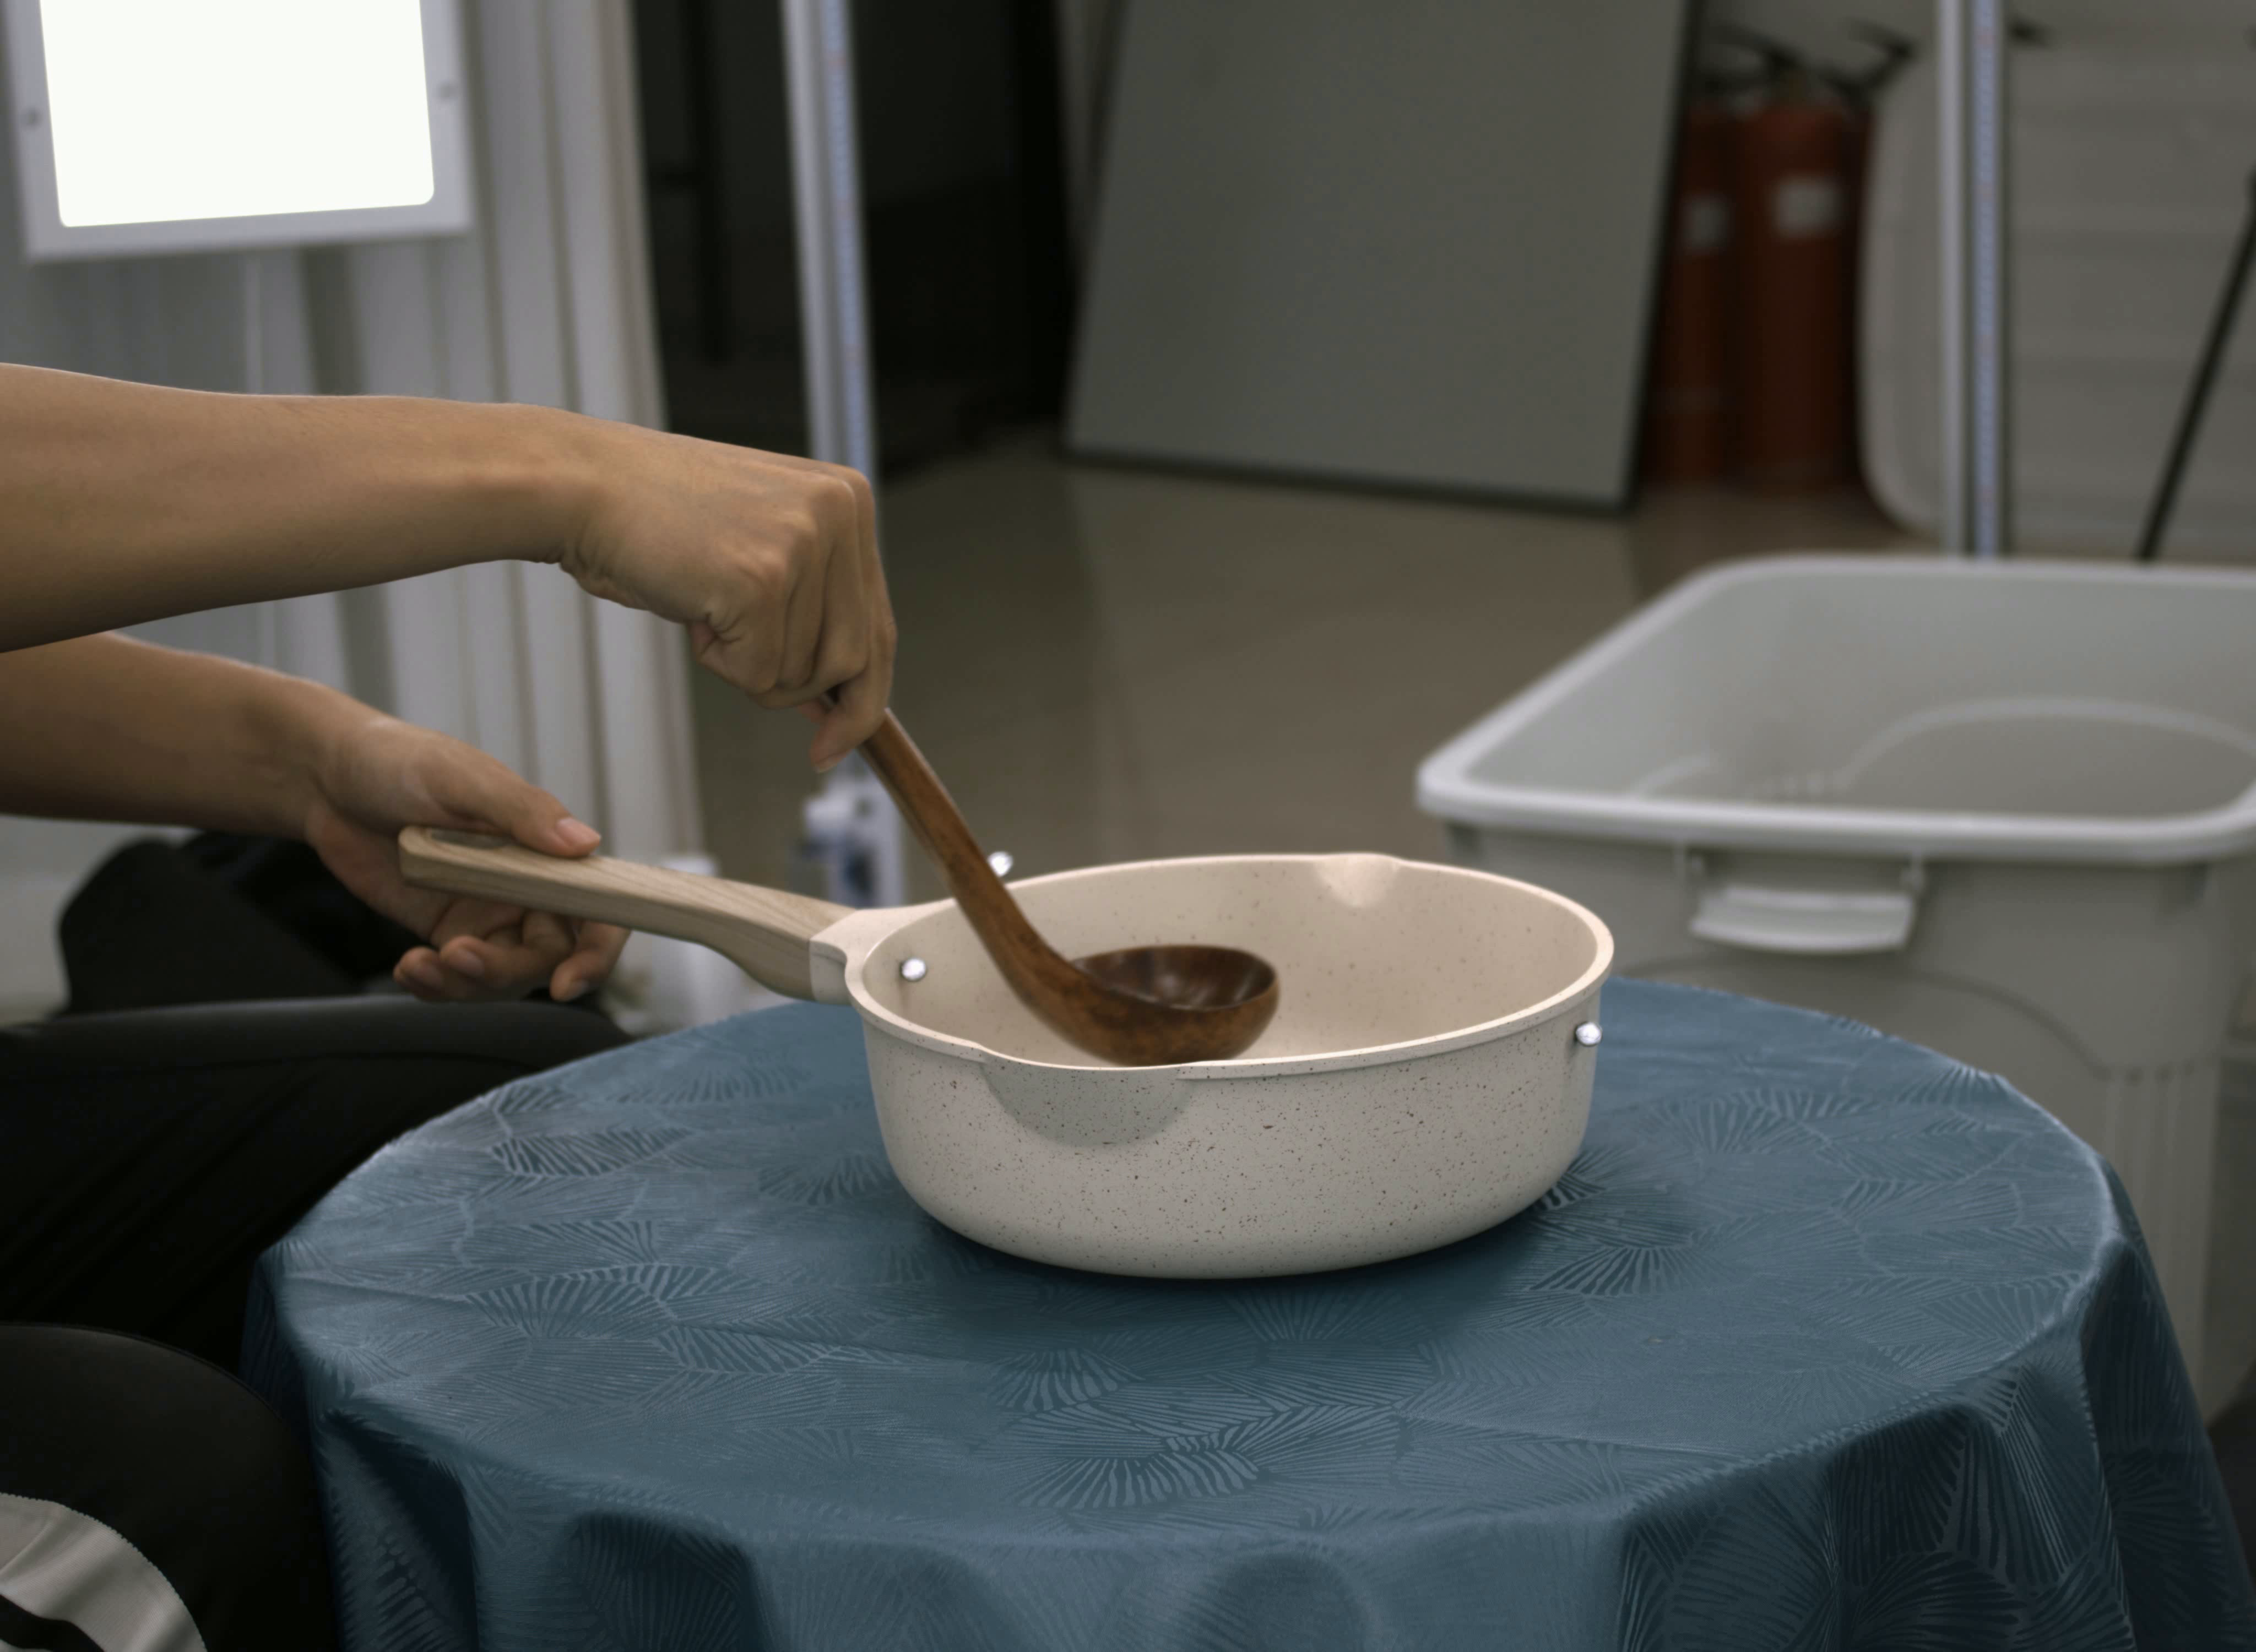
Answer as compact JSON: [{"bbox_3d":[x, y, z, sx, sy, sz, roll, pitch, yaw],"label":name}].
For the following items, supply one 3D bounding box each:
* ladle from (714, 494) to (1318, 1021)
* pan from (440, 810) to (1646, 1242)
[{"bbox_3d":[-0.030,-0.026,1.756,0.076,0.272,0.083,-48,31,-21],"label":"ladle"},{"bbox_3d":[-0.036,0.057,1.813,0.435,0.103,0.260,2,16,25],"label":"pan"}]
